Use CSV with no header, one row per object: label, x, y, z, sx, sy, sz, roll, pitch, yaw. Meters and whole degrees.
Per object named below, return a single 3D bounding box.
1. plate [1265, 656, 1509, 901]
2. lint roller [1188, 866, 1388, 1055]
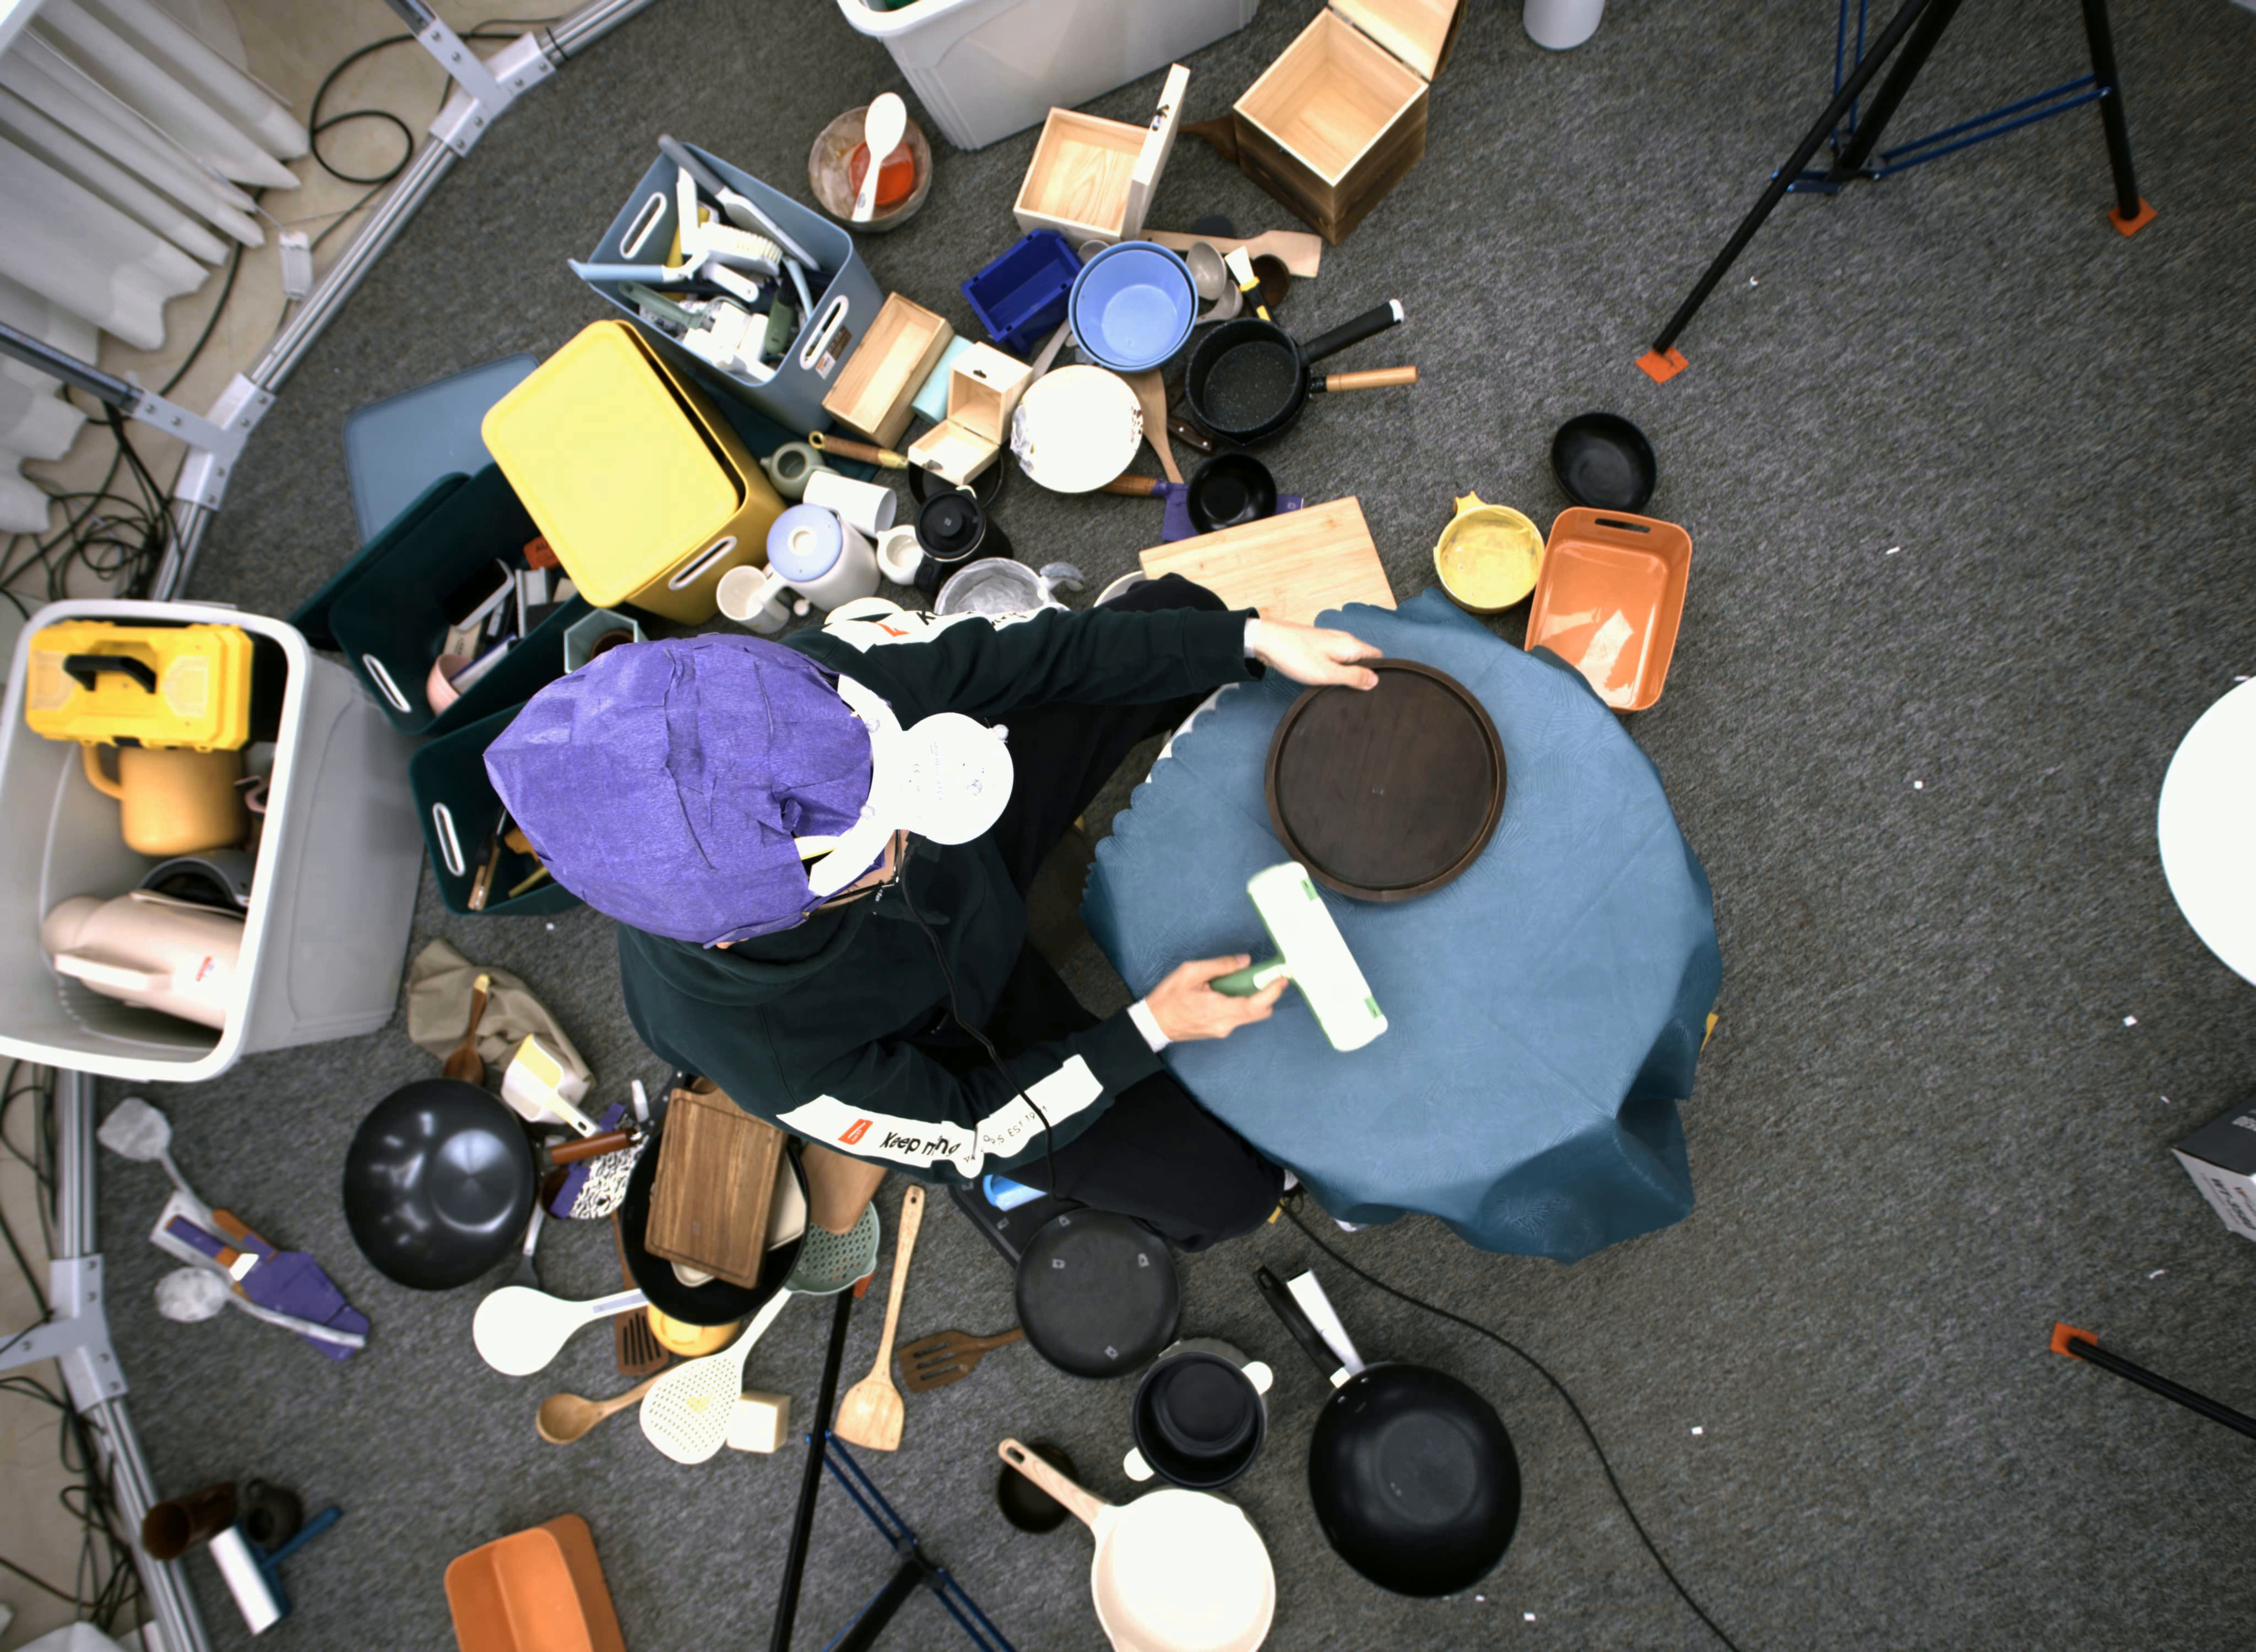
plate,0.267,-0.050,1.423,0.255,0.029,0.256,0,98,0
lint roller,0.137,0.159,1.389,0.185,0.081,0.200,-26,100,18
